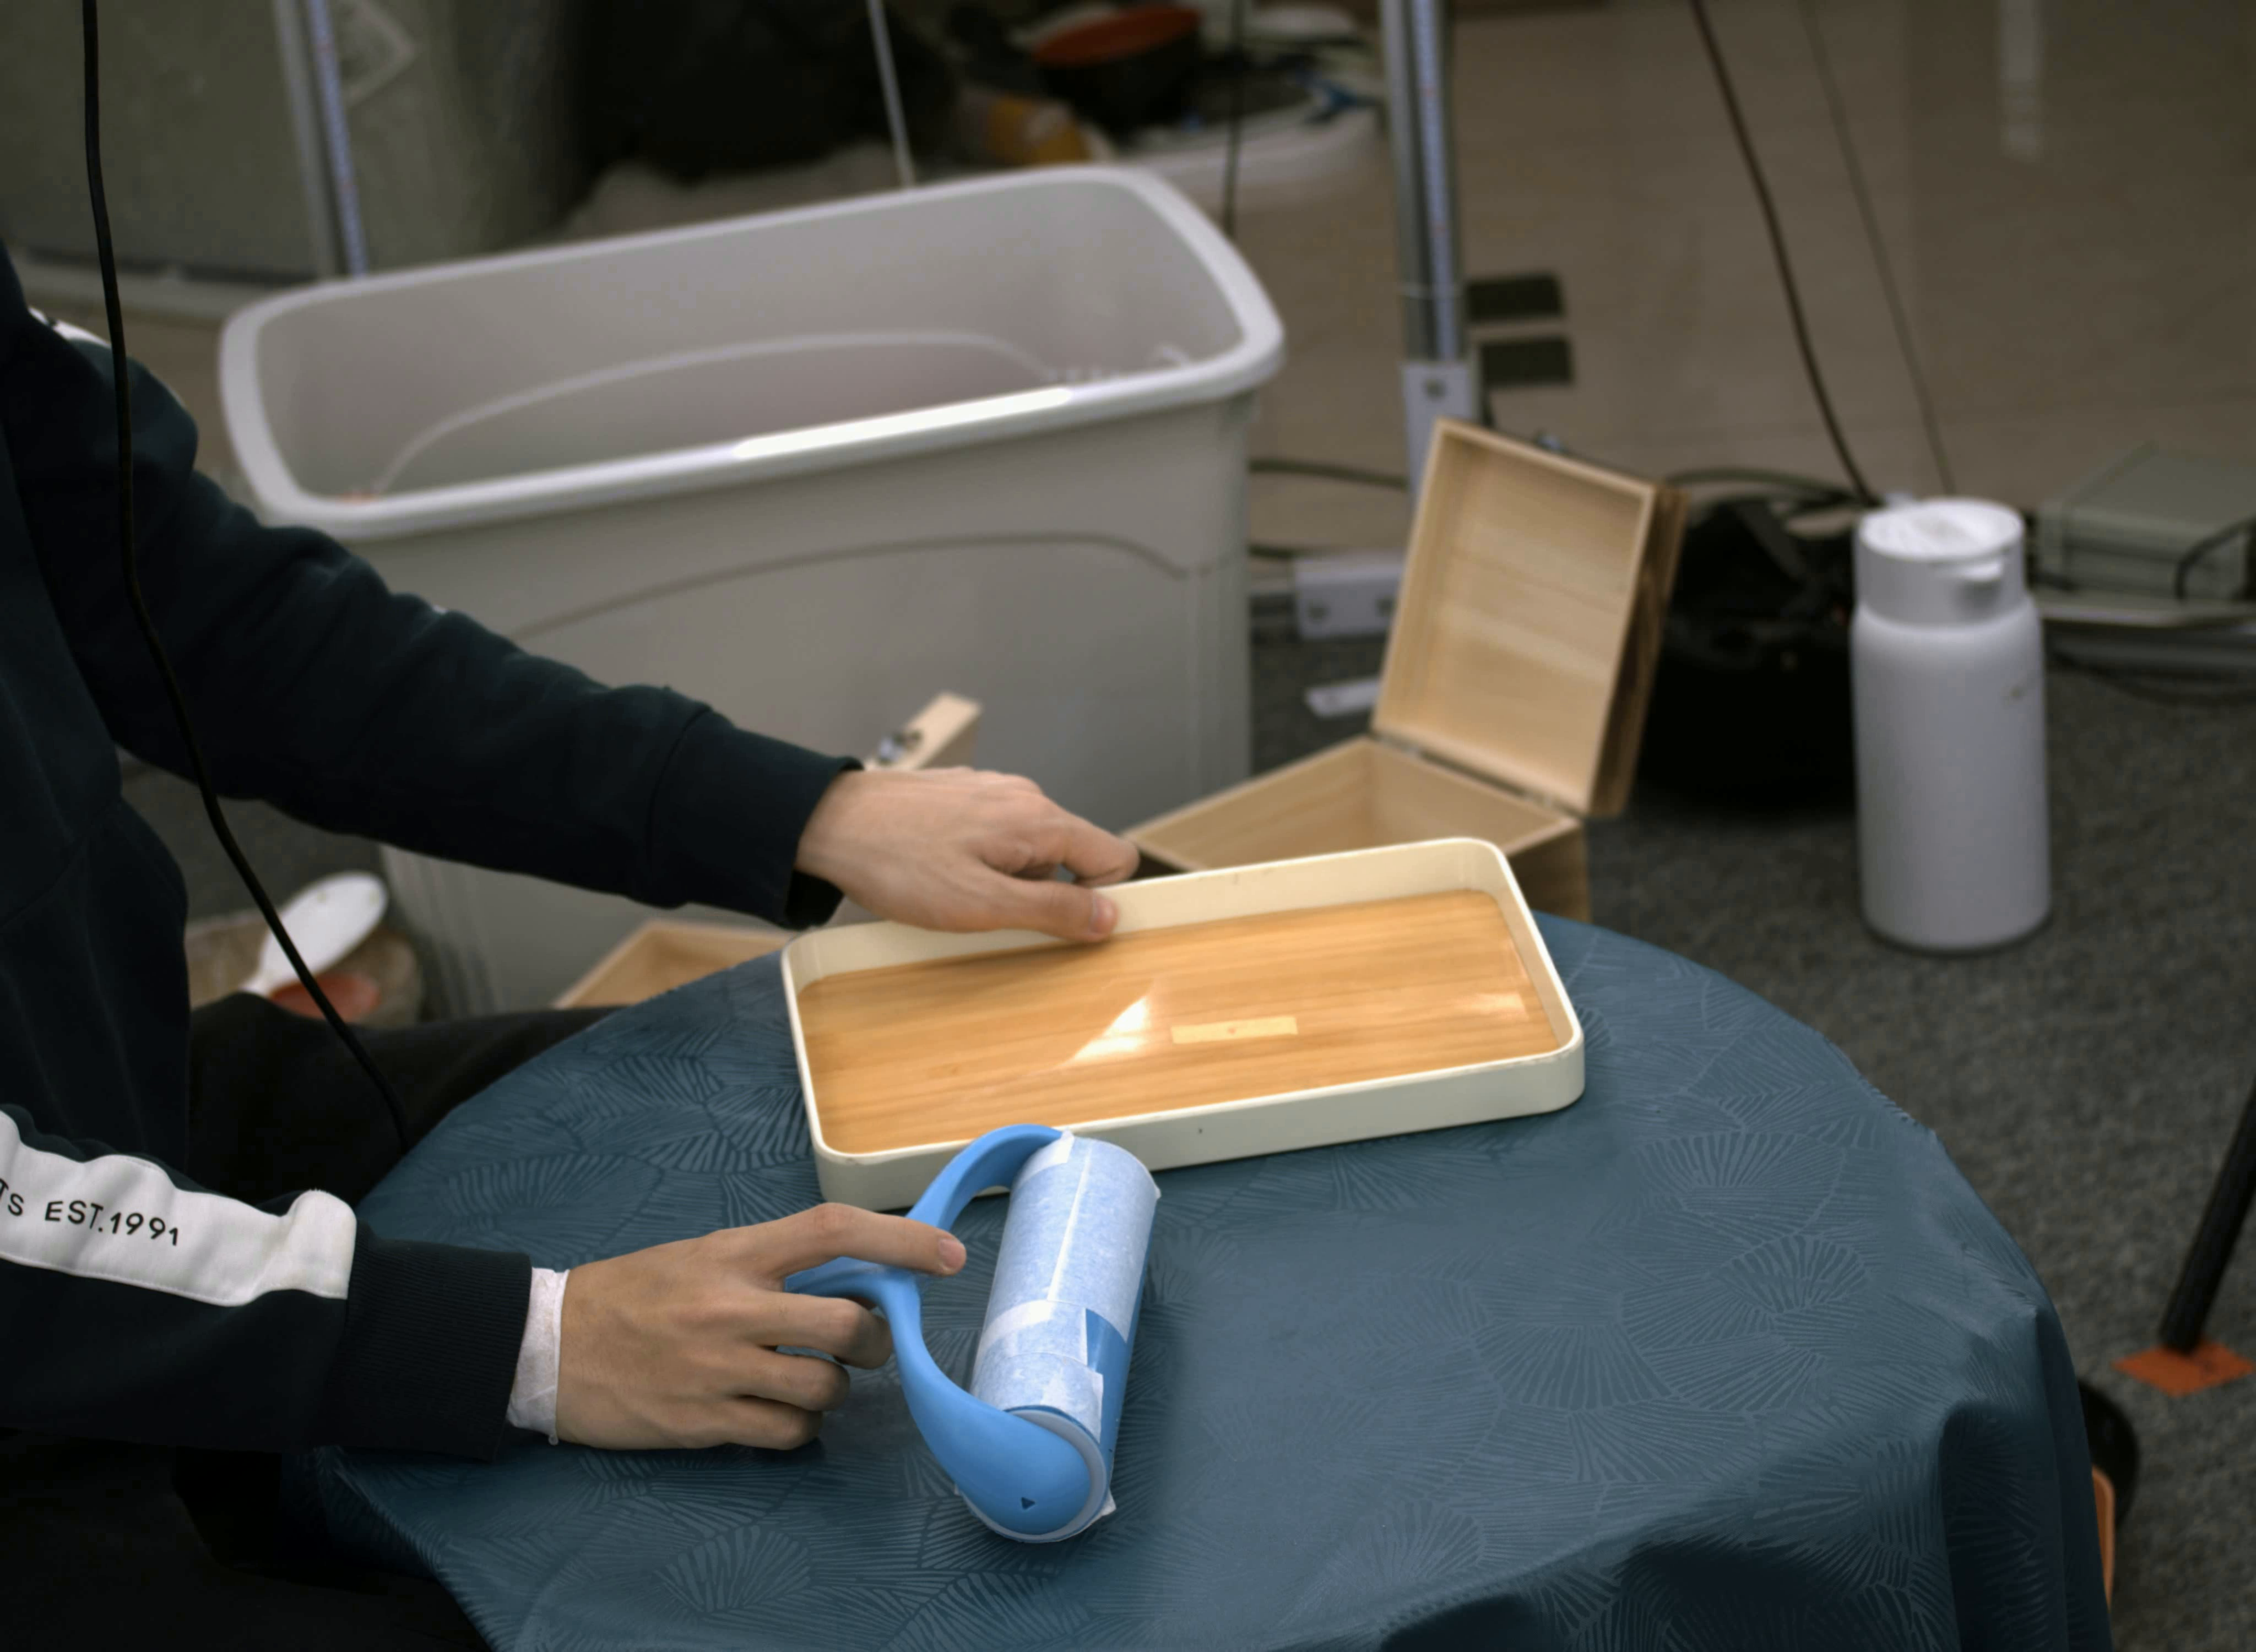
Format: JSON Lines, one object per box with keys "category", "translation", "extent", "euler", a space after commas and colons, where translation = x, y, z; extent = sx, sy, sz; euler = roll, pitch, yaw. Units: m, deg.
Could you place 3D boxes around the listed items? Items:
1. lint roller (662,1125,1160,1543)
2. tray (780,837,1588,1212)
{"category": "lint roller", "translation": [-0.079, 0.182, 2.006], "extent": [0.180, 0.069, 0.225], "euler": [-4, 27, 3]}
{"category": "tray", "translation": [0.018, 0.076, 2.231], "extent": [0.300, 0.028, 0.188], "euler": [-8, 28, -4]}
